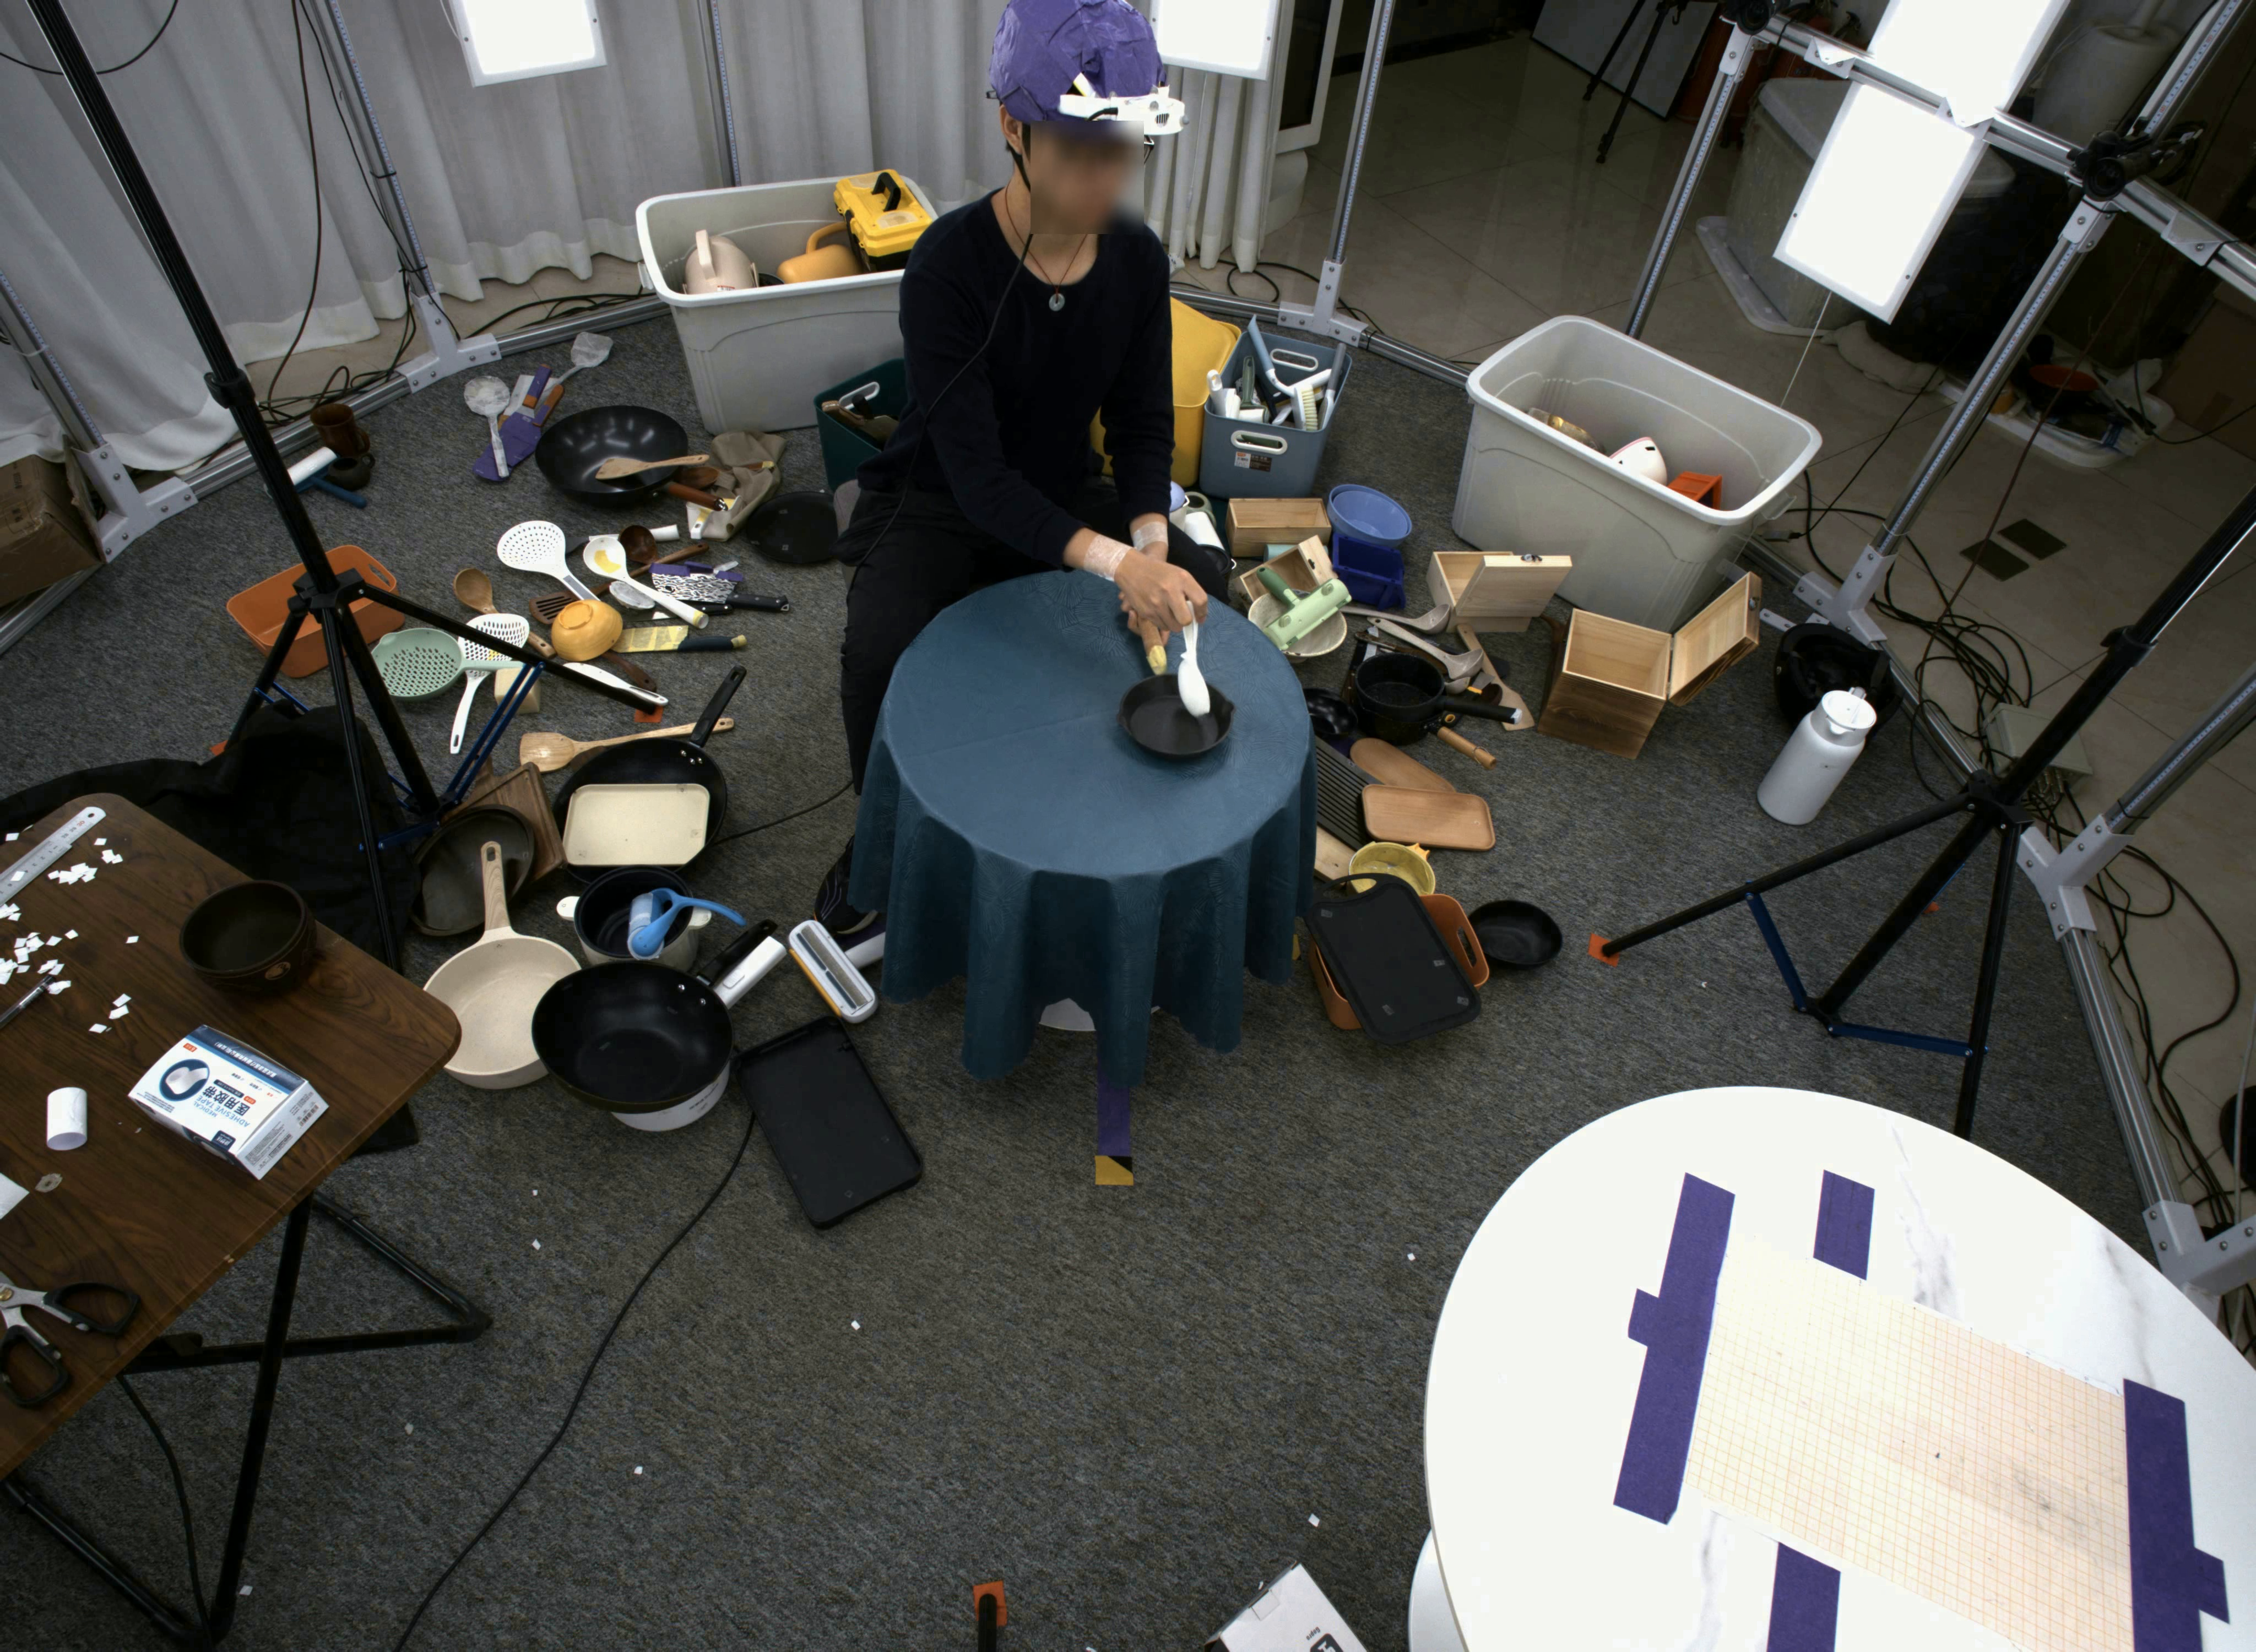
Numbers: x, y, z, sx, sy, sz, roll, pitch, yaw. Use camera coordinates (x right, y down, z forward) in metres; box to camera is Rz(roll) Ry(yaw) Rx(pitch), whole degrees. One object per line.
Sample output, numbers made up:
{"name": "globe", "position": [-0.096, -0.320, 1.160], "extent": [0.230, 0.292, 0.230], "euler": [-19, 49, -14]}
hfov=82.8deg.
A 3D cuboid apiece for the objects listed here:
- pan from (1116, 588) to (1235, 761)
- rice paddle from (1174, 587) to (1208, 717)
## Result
{"name": "pan", "position": [0.051, -0.217, 1.828], "extent": [0.169, 0.048, 0.332], "euler": [-6, 51, -9]}
{"name": "rice paddle", "position": [0.085, -0.231, 1.738], "extent": [0.029, 0.200, 0.070], "euler": [-29, 48, -21]}
